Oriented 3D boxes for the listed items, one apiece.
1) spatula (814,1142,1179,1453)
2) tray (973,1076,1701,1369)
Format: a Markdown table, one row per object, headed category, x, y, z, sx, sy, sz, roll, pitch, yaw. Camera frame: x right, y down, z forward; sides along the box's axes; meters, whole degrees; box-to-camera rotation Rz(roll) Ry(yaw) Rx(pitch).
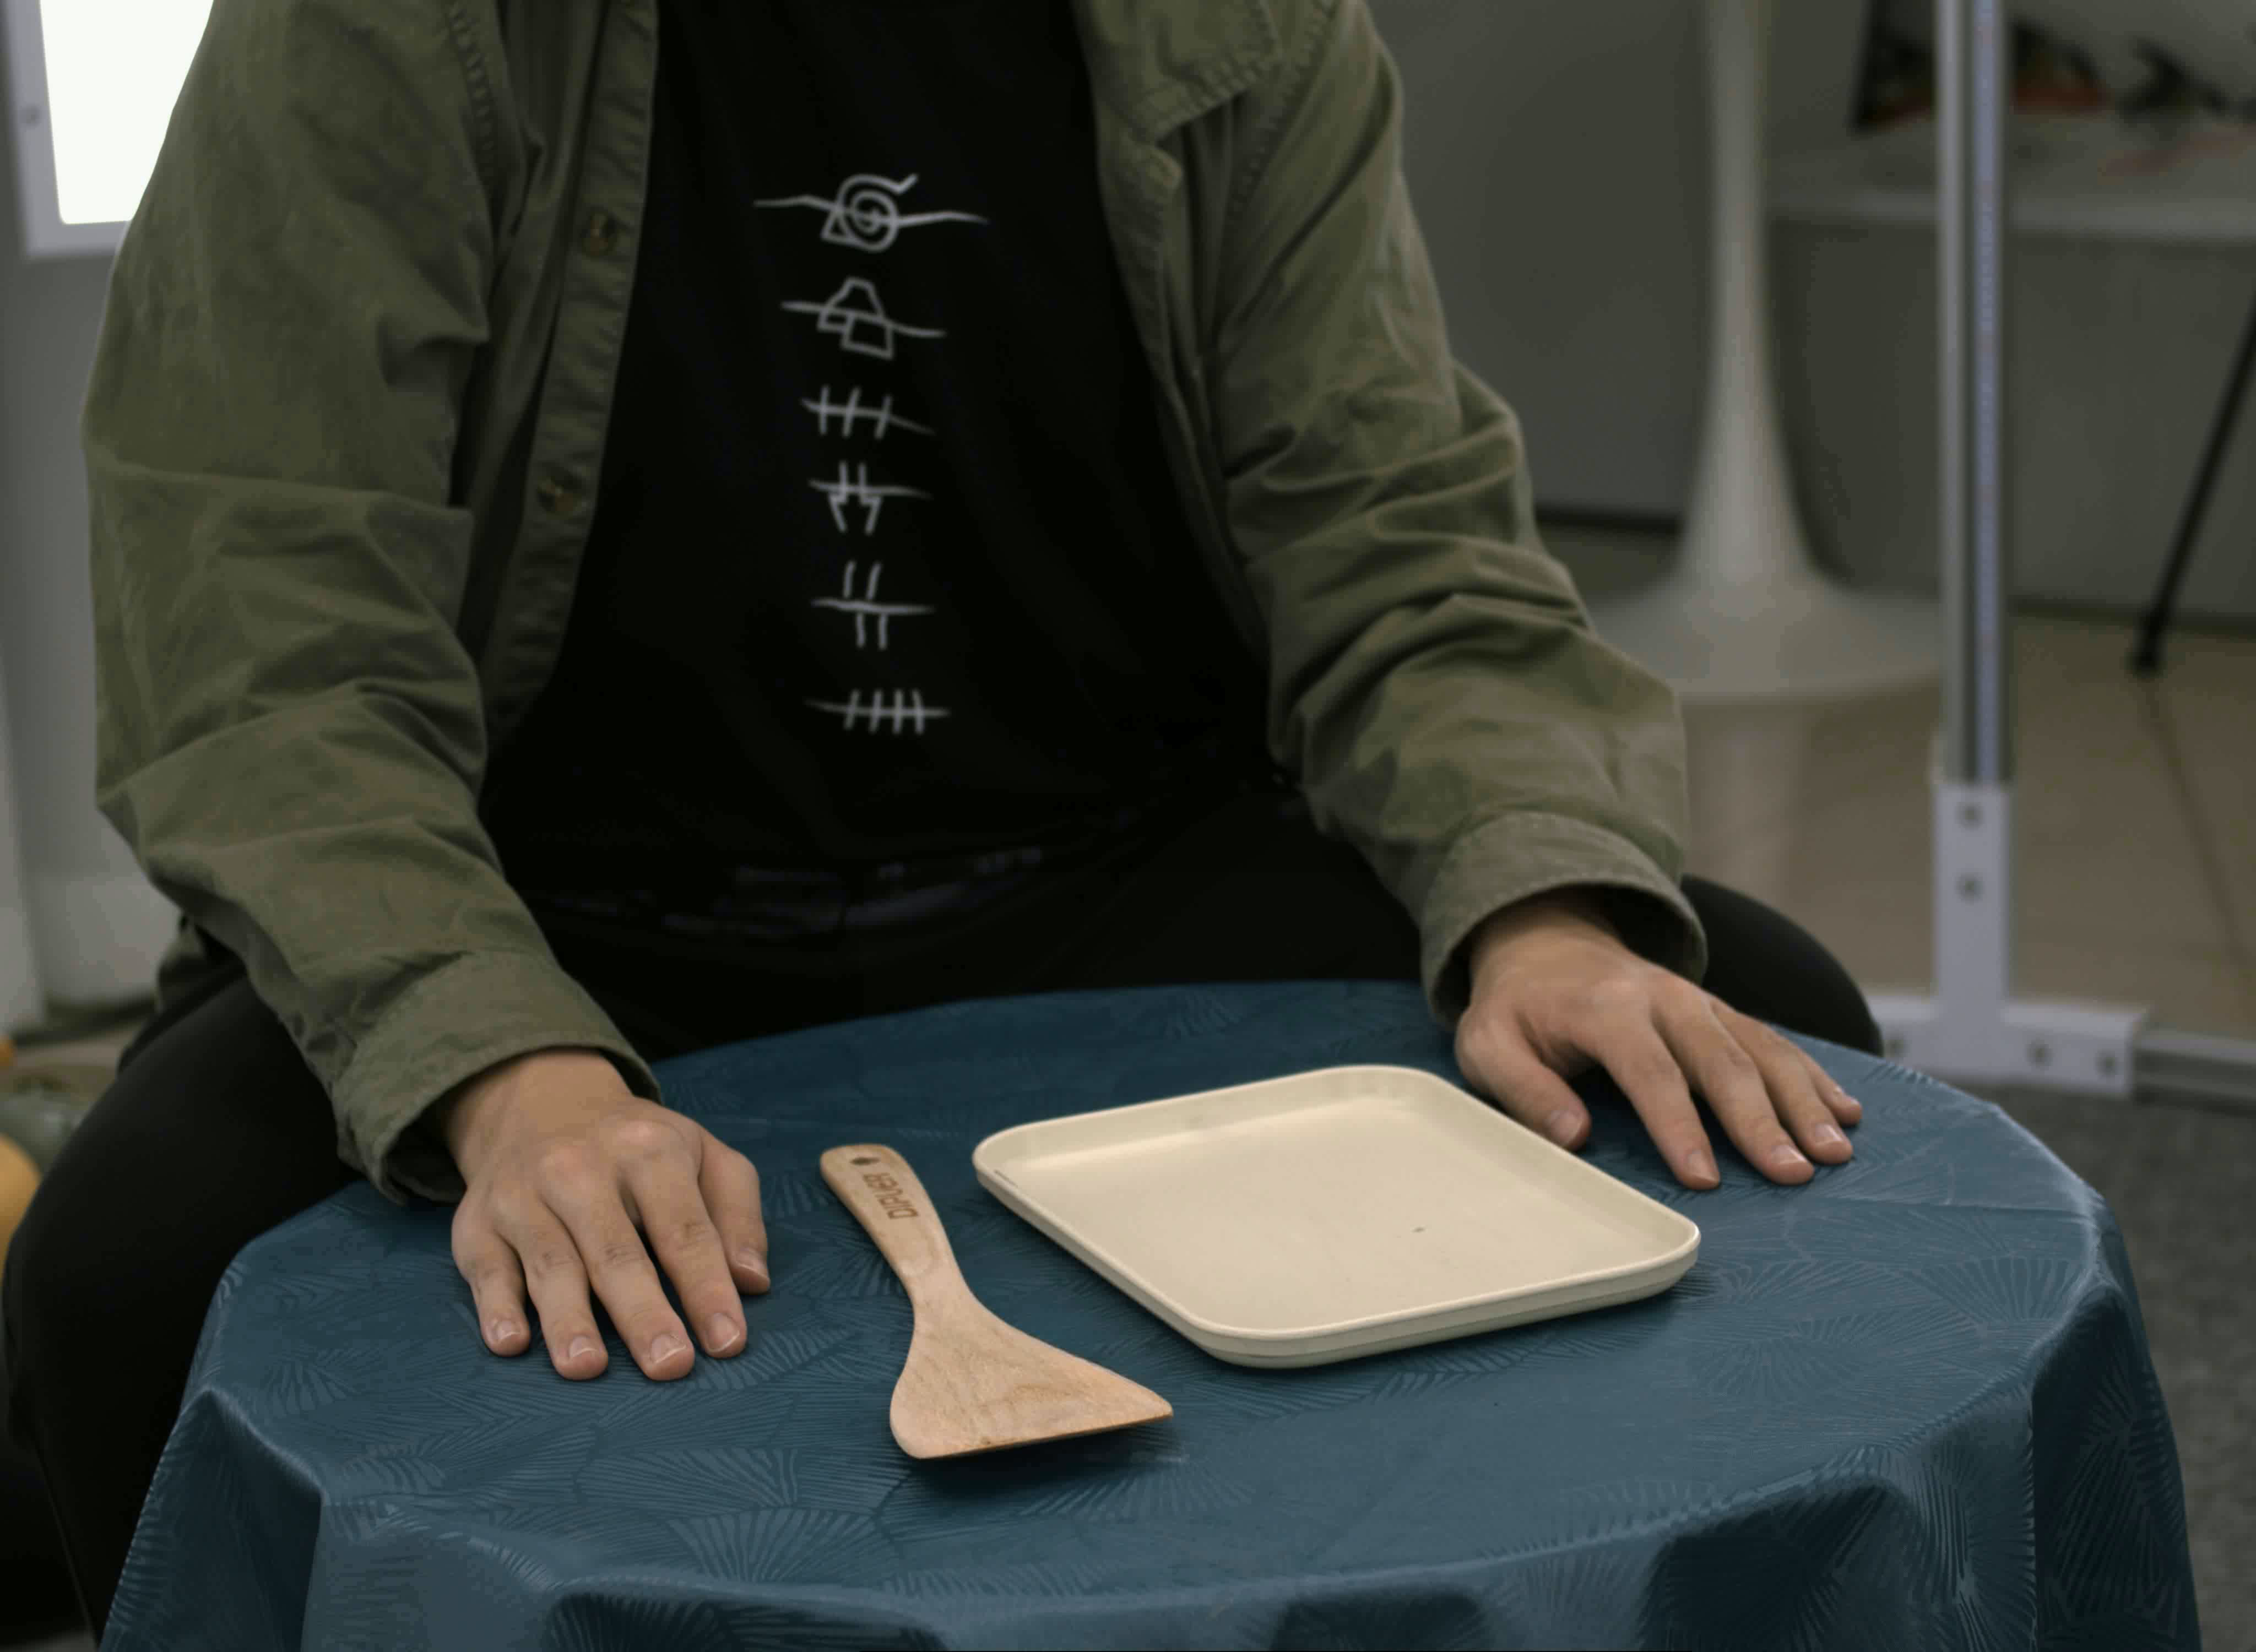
| category | x | y | z | sx | sy | sz | roll | pitch | yaw |
| --- | --- | --- | --- | --- | --- | --- | --- | --- | --- |
| spatula | -0.056 | 0.141 | 1.669 | 0.078 | 0.017 | 0.330 | -7 | 14 | -12 |
| tray | 0.063 | 0.124 | 1.704 | 0.168 | 0.017 | 0.242 | -9 | 14 | -20 |
